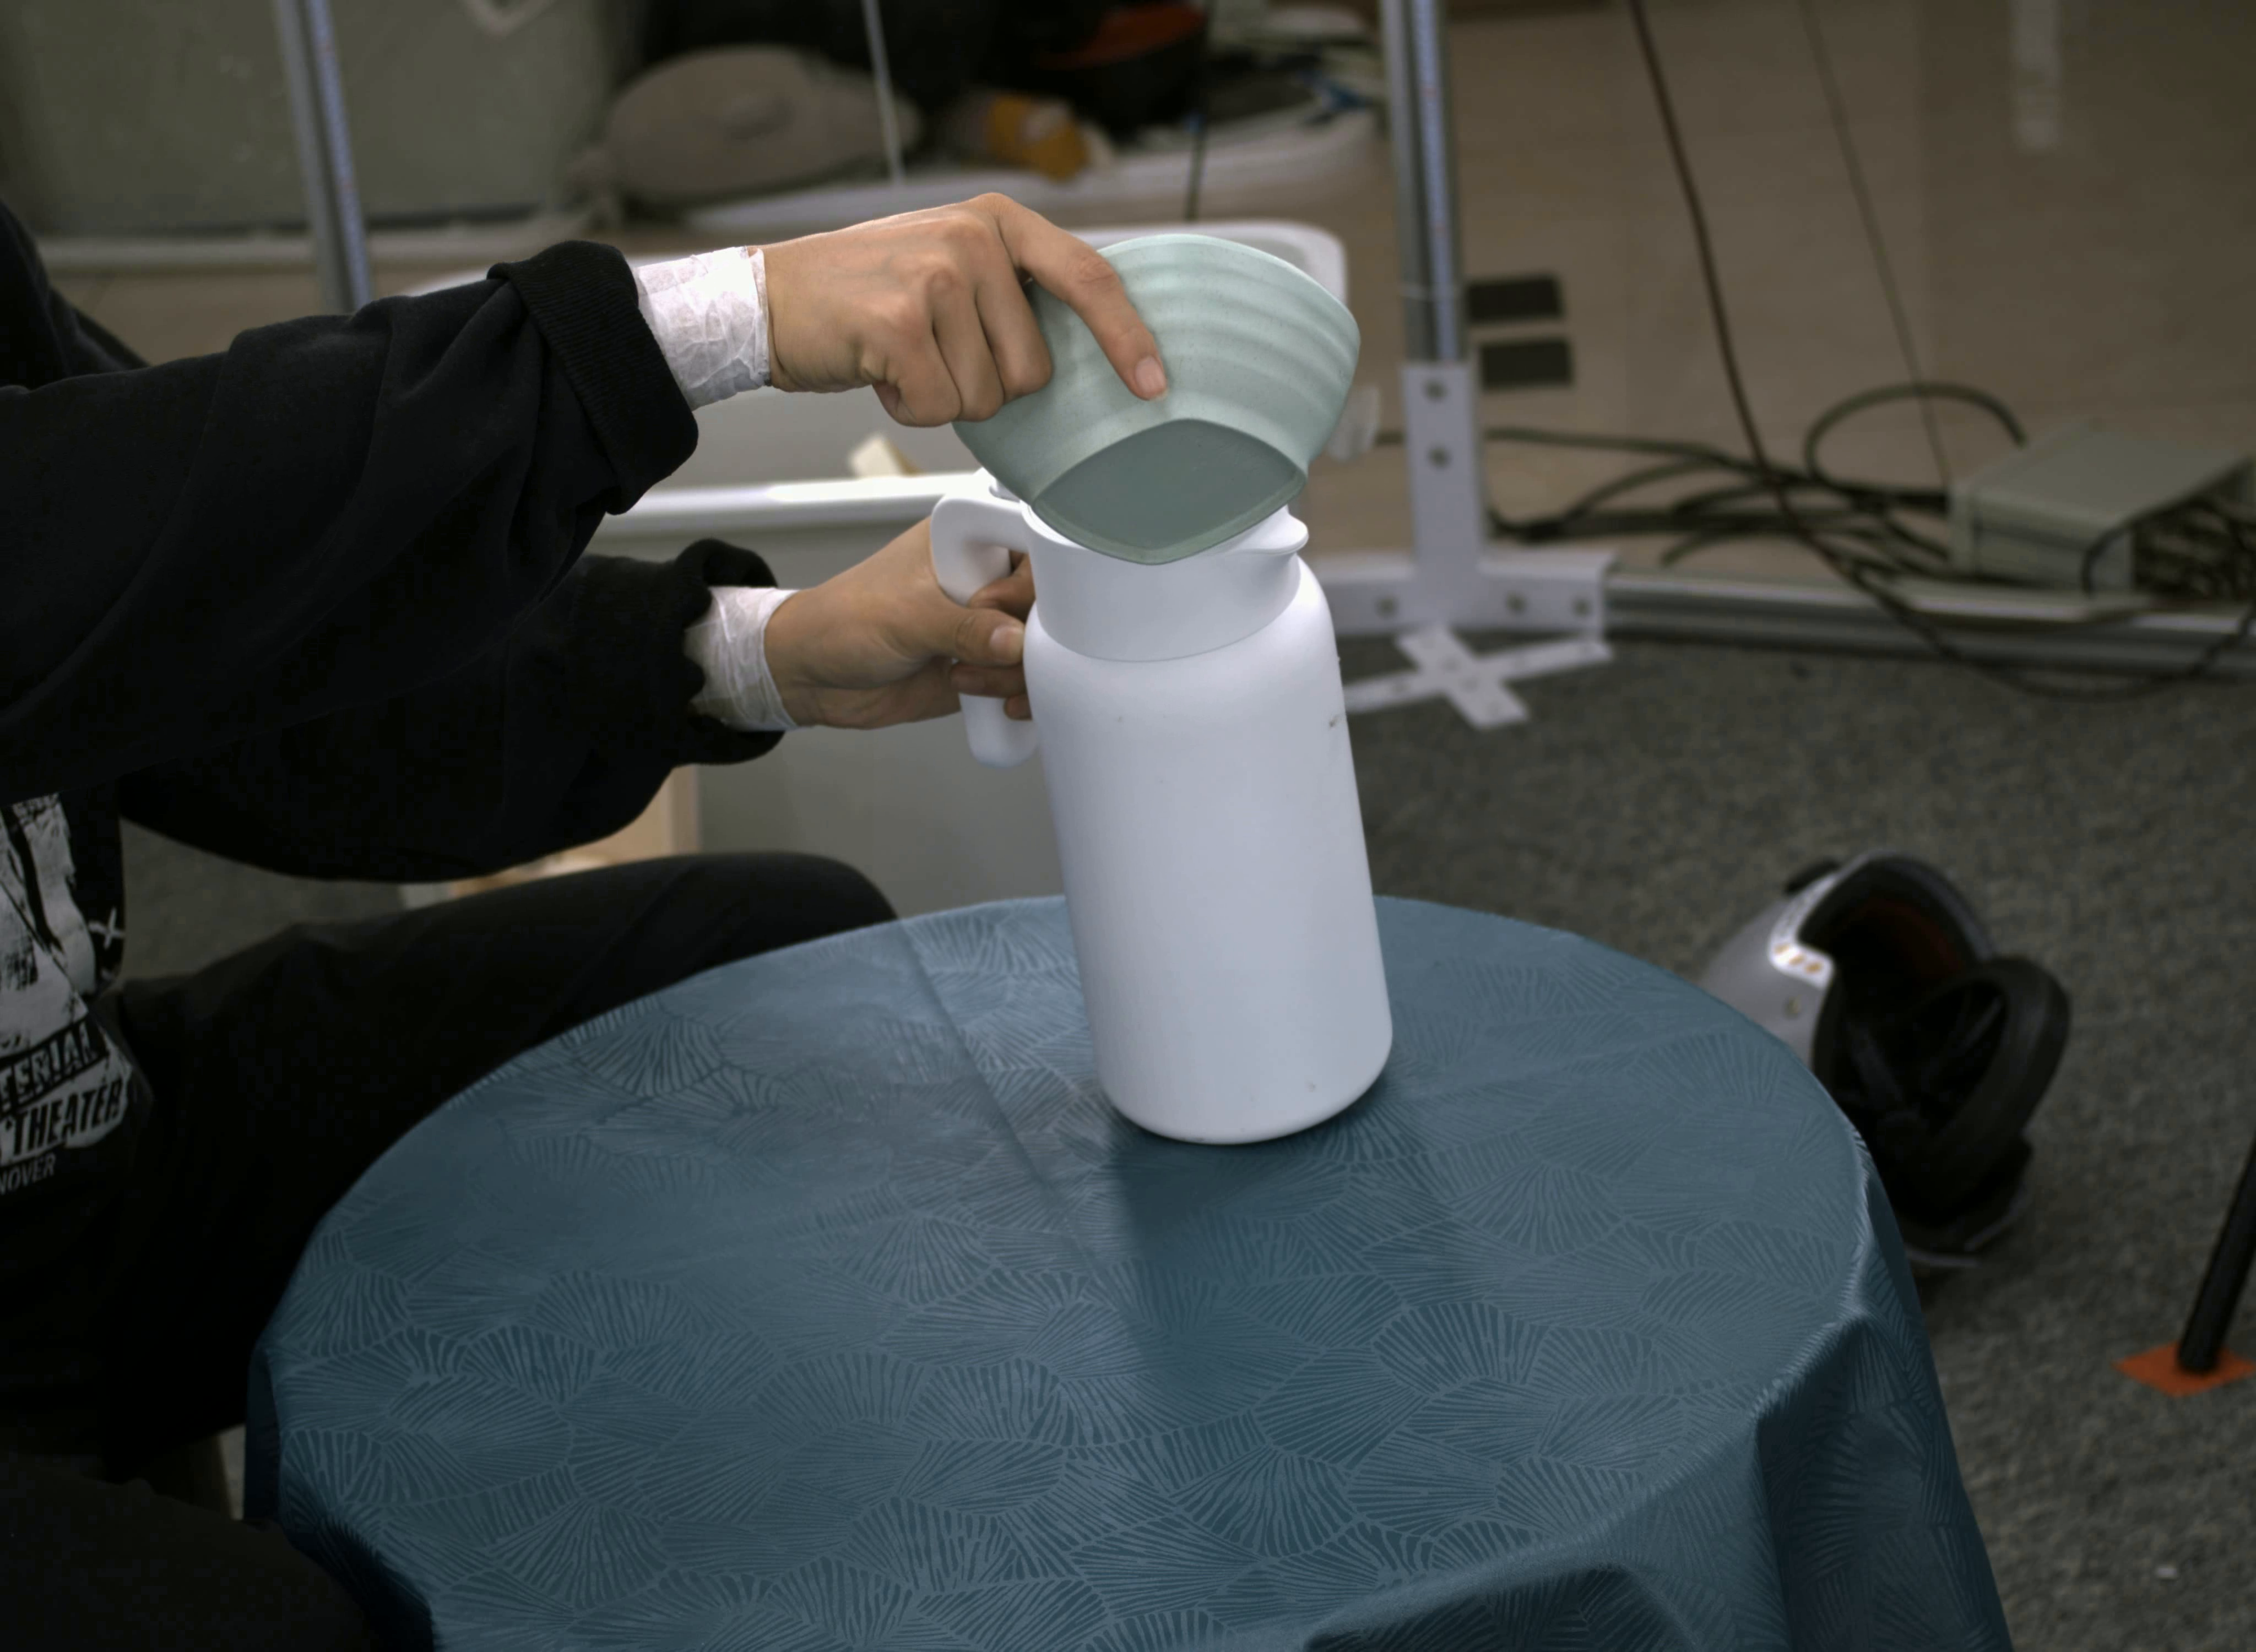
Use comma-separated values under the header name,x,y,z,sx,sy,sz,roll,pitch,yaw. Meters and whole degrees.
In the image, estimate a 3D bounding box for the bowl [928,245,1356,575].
name,x,y,z,sx,sy,sz,roll,pitch,yaw
bowl,0.009,-0.136,1.960,0.151,0.154,0.058,-8,64,-4

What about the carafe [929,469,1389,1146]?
name,x,y,z,sx,sy,sz,roll,pitch,yaw
carafe,0.013,-0.019,2.152,0.172,0.274,0.122,15,43,33
